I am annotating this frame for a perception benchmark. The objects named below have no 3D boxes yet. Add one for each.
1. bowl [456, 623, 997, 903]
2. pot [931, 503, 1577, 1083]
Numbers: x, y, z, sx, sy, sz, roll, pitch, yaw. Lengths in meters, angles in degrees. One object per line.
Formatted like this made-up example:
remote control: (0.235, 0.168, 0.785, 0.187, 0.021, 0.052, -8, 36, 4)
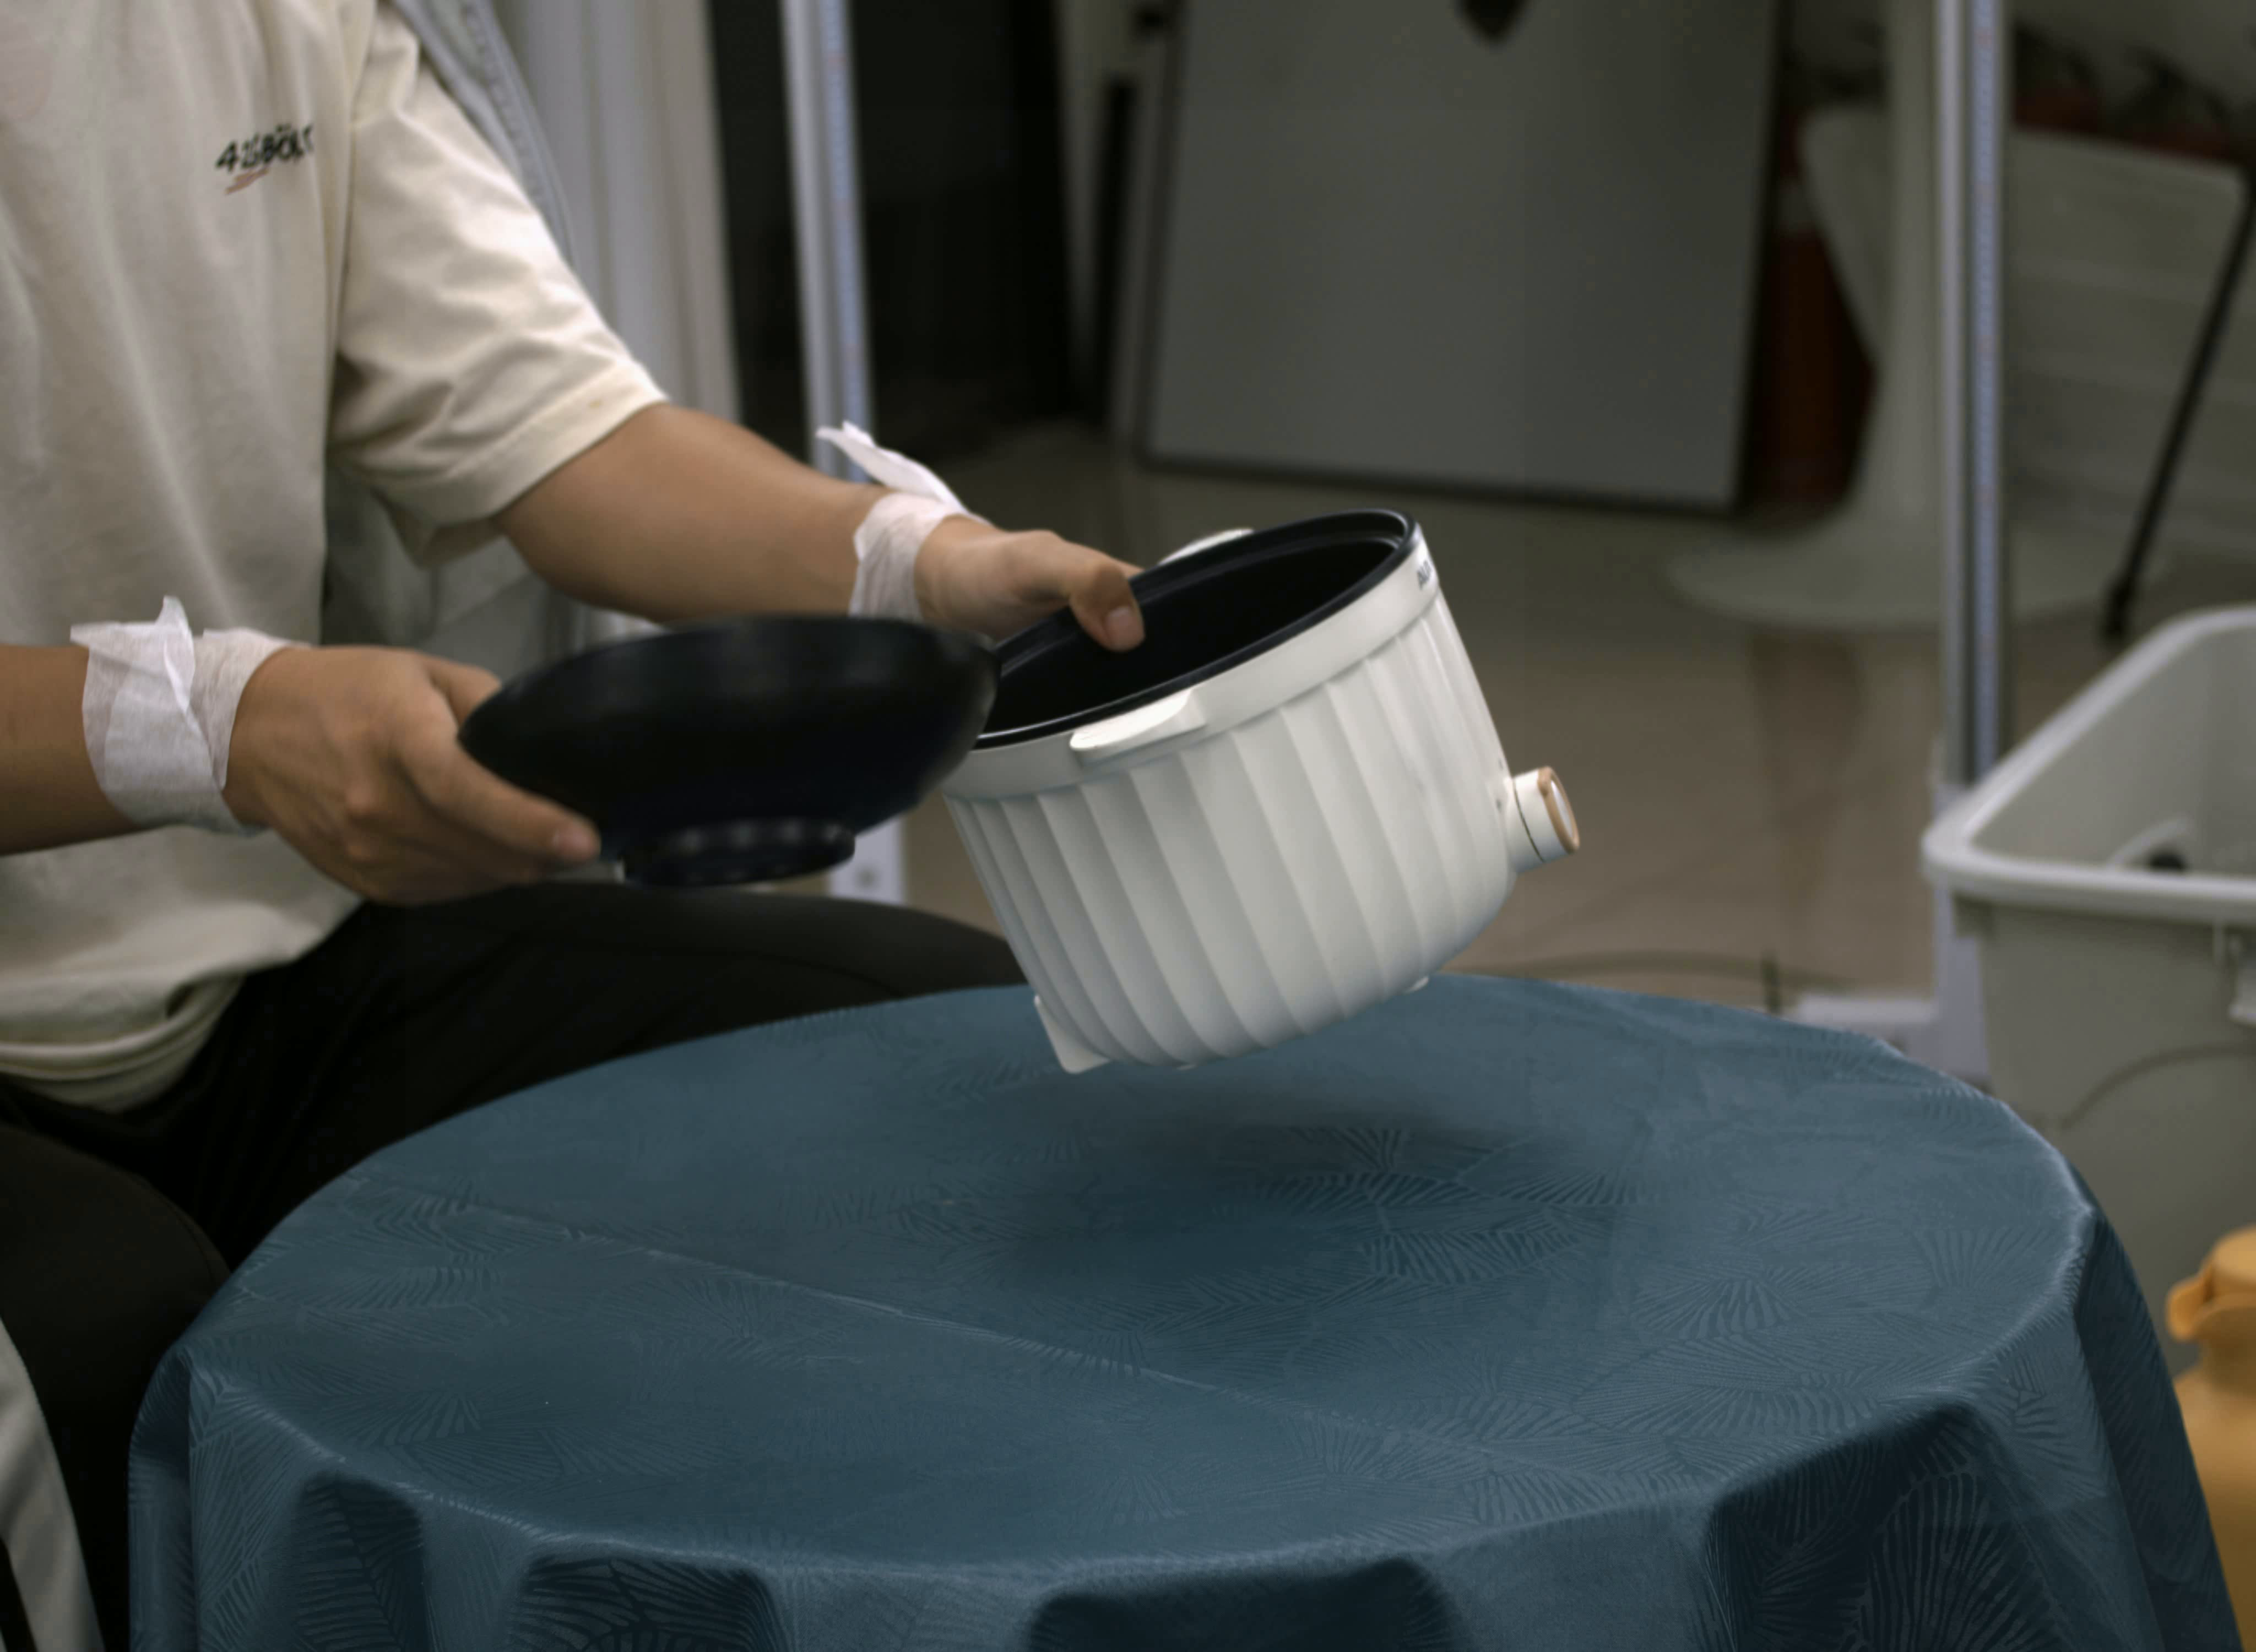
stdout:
bowl: (-0.119, -0.015, 1.629, 0.169, 0.067, 0.136, -9, -10, 7)
pot: (0.041, -0.010, 1.787, 0.190, 0.143, 0.240, -23, 13, 14)
